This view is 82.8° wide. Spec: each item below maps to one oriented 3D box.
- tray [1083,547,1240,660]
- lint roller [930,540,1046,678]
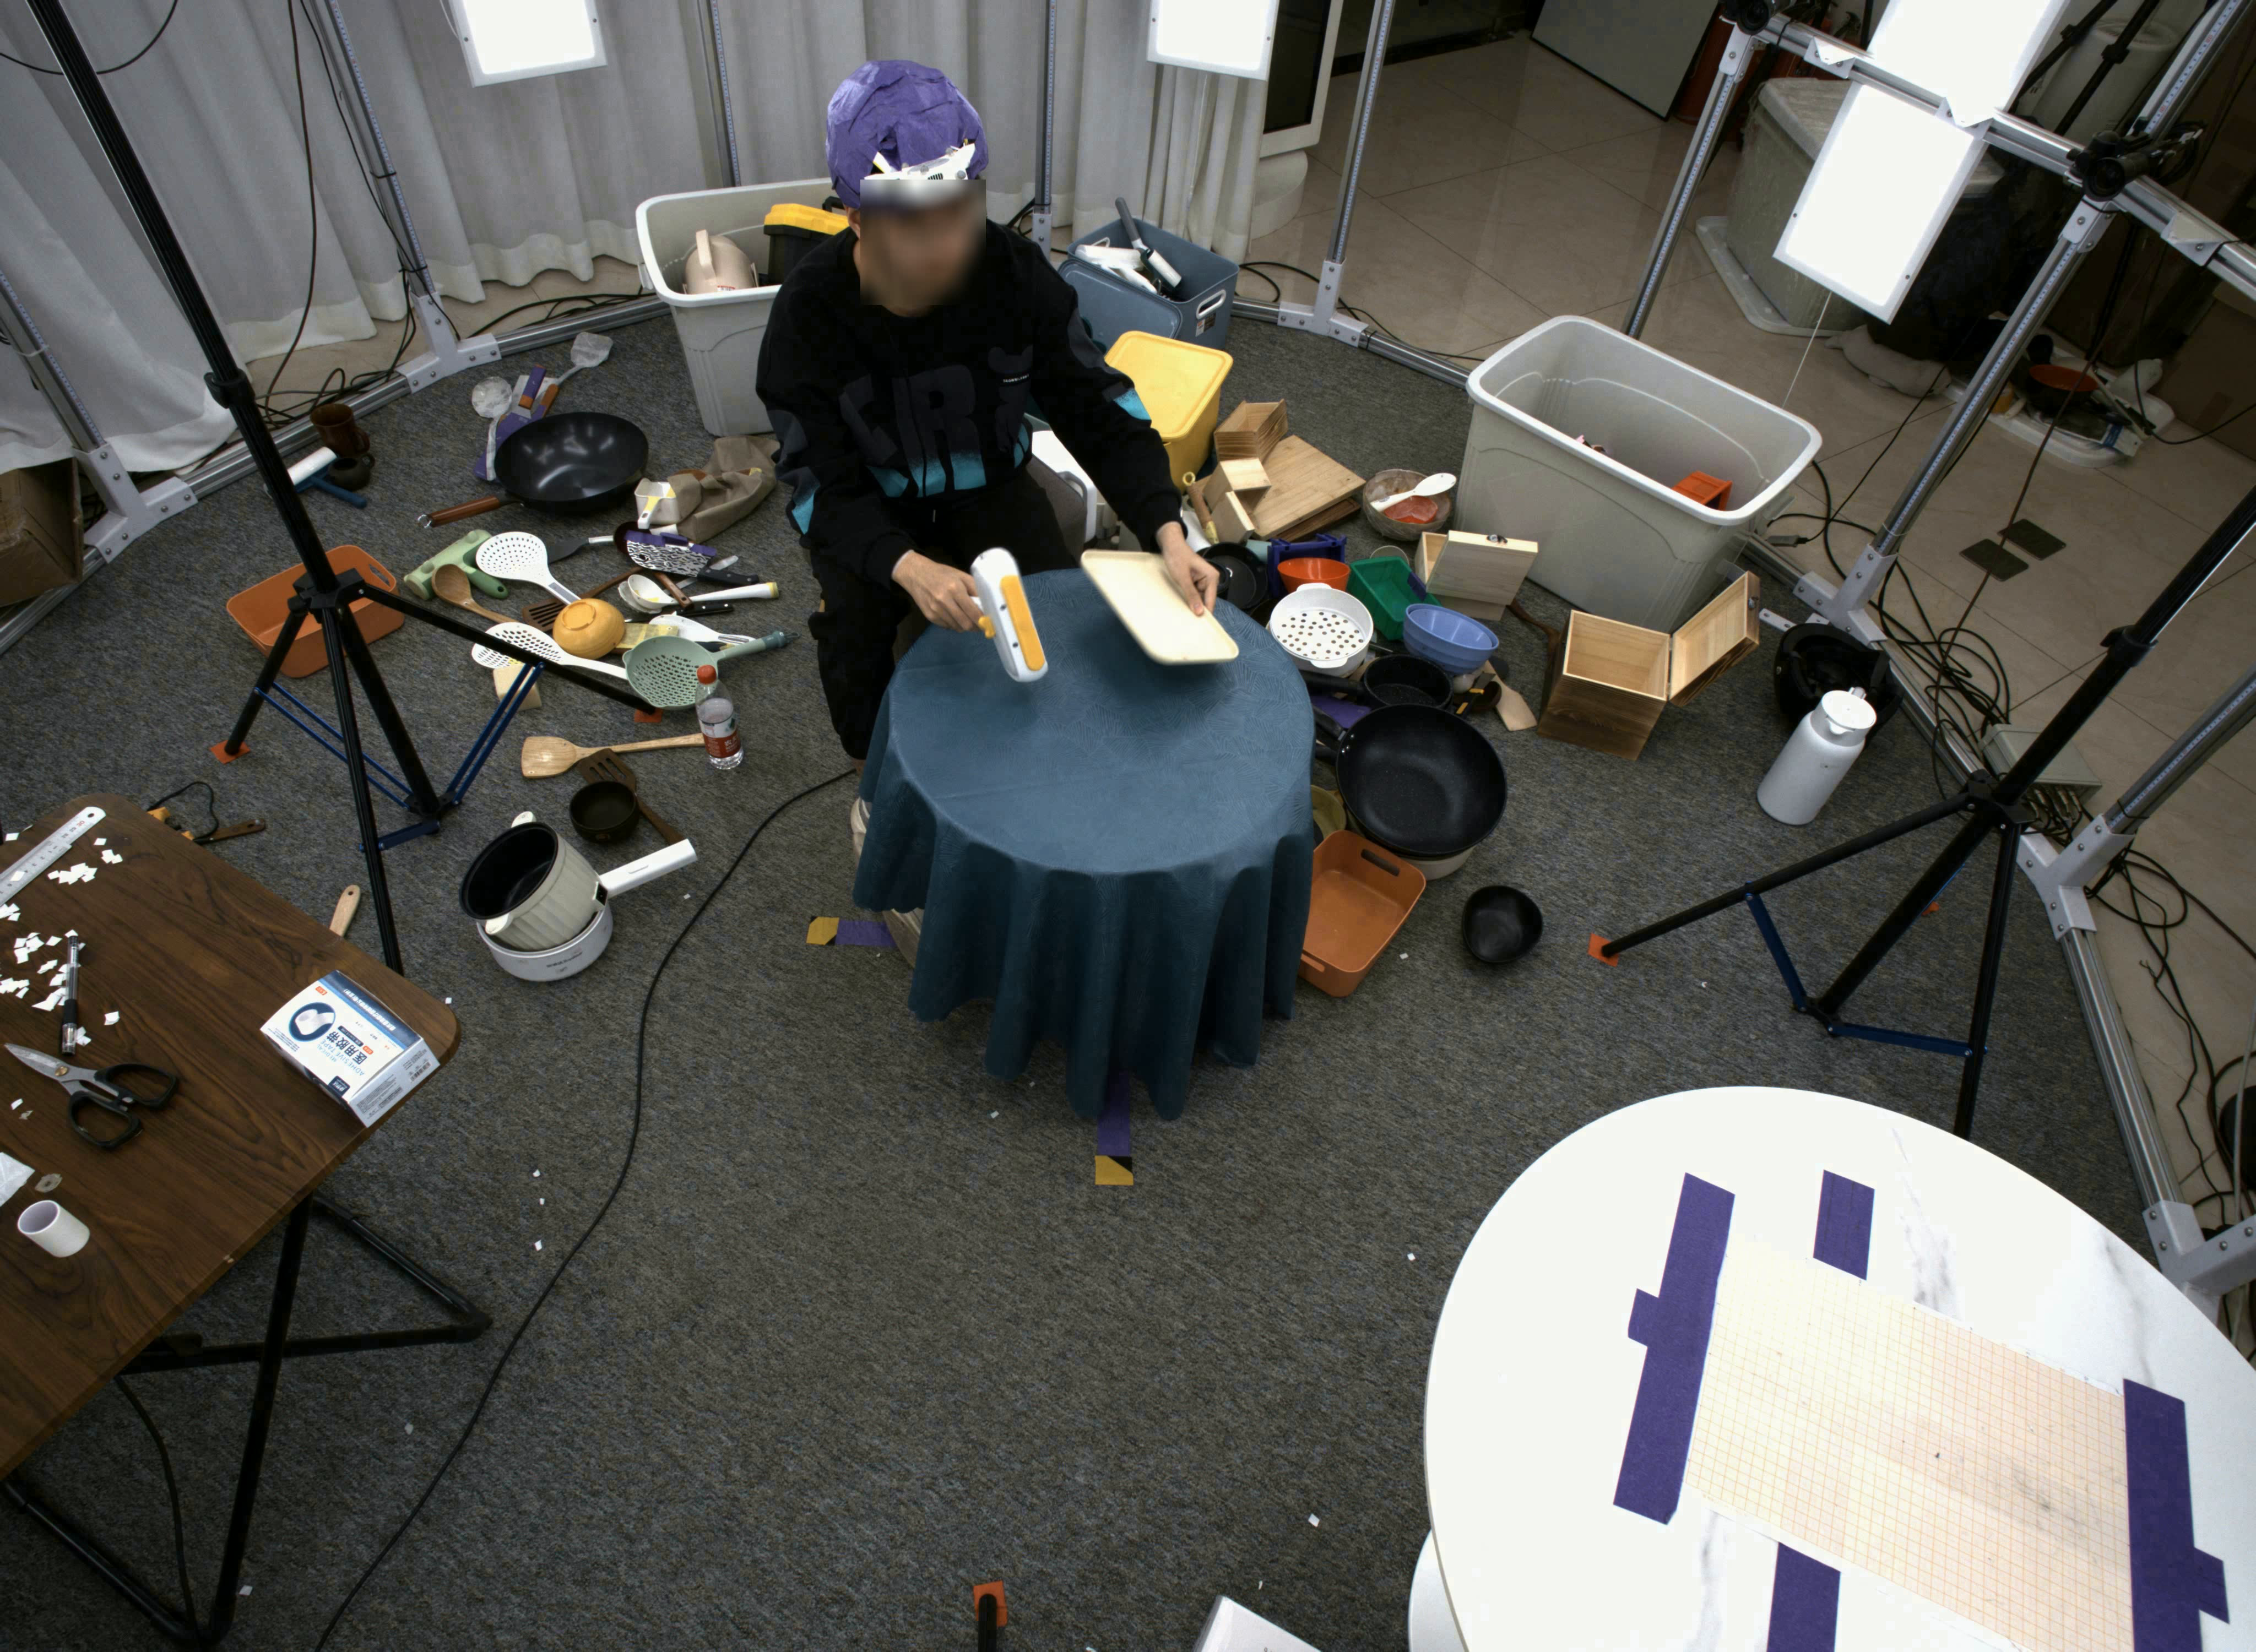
[{"bbox_3d":[0.046,-0.318,1.845,0.171,0.017,0.244,-5,49,-40],"label":"tray"},{"bbox_3d":[-0.202,-0.301,1.782,0.075,0.189,0.195,-36,32,-25],"label":"lint roller"}]
